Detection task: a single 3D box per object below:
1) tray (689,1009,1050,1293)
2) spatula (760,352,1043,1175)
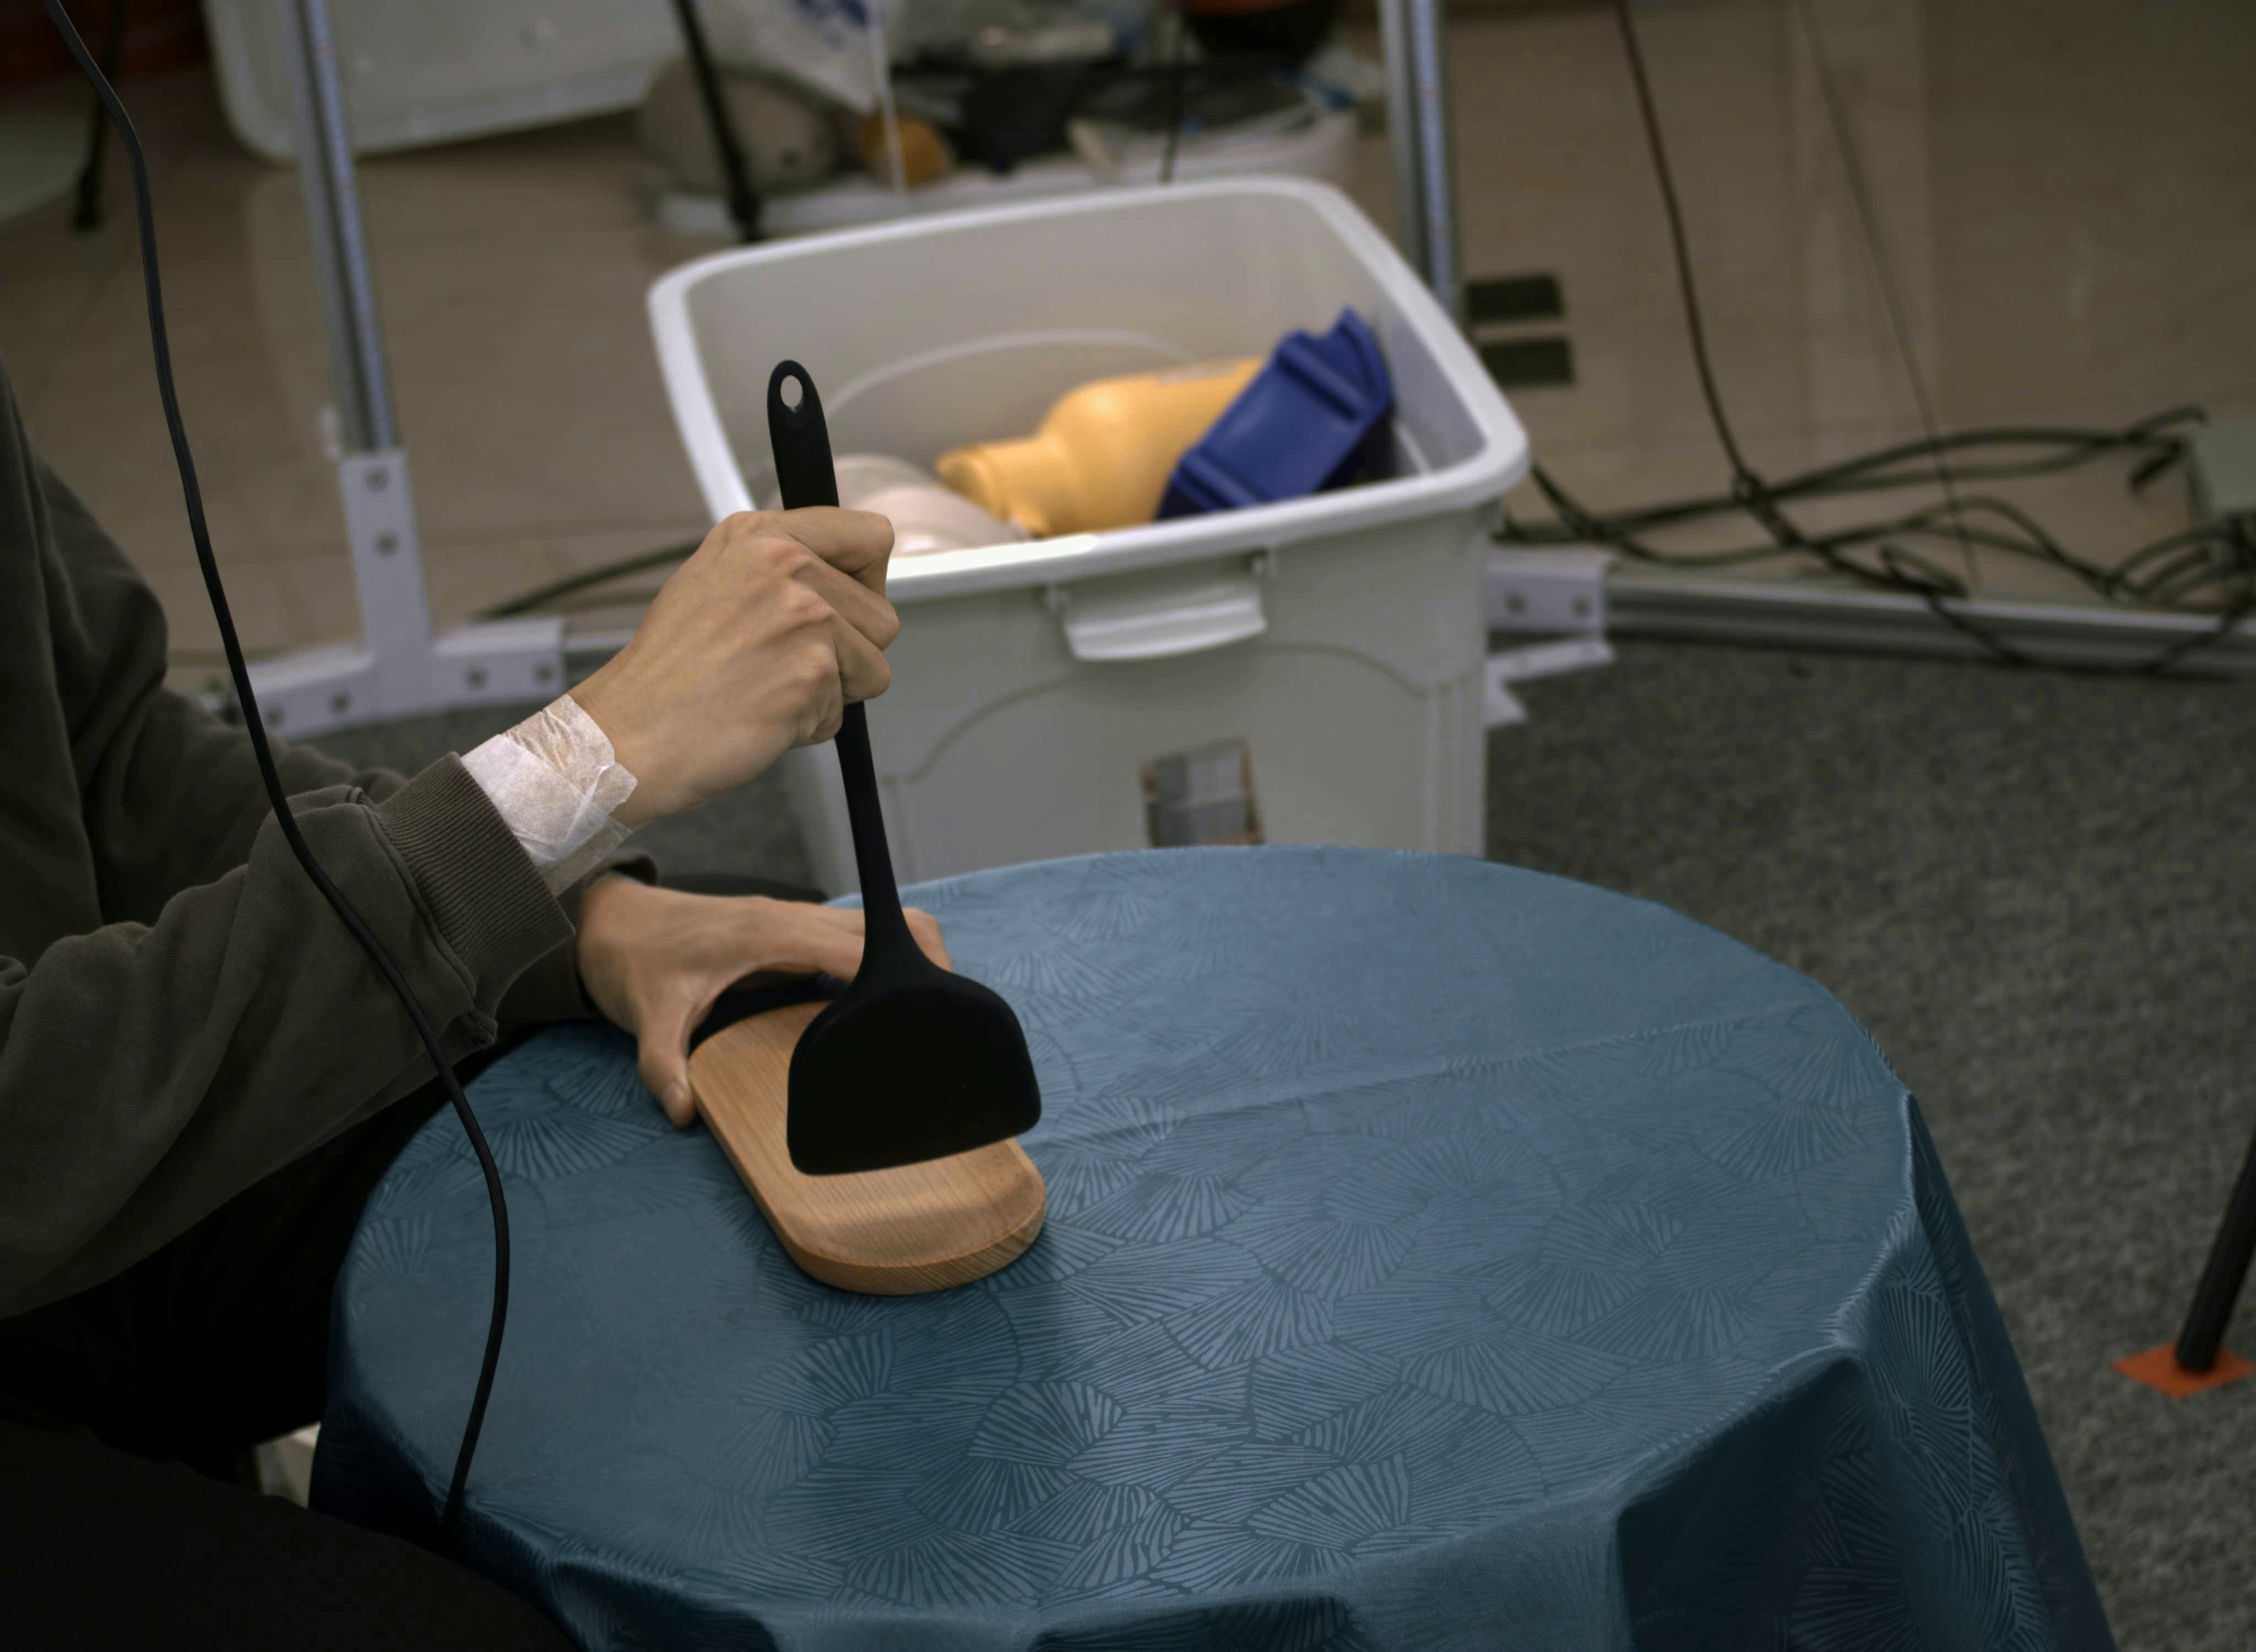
[{"bbox_3d":[-0.101,0.123,2.185,0.101,0.020,0.228,-13,27,-16],"label":"tray"},{"bbox_3d":[-0.099,-0.020,2.055,0.099,0.331,0.040,-12,22,-7],"label":"spatula"}]
